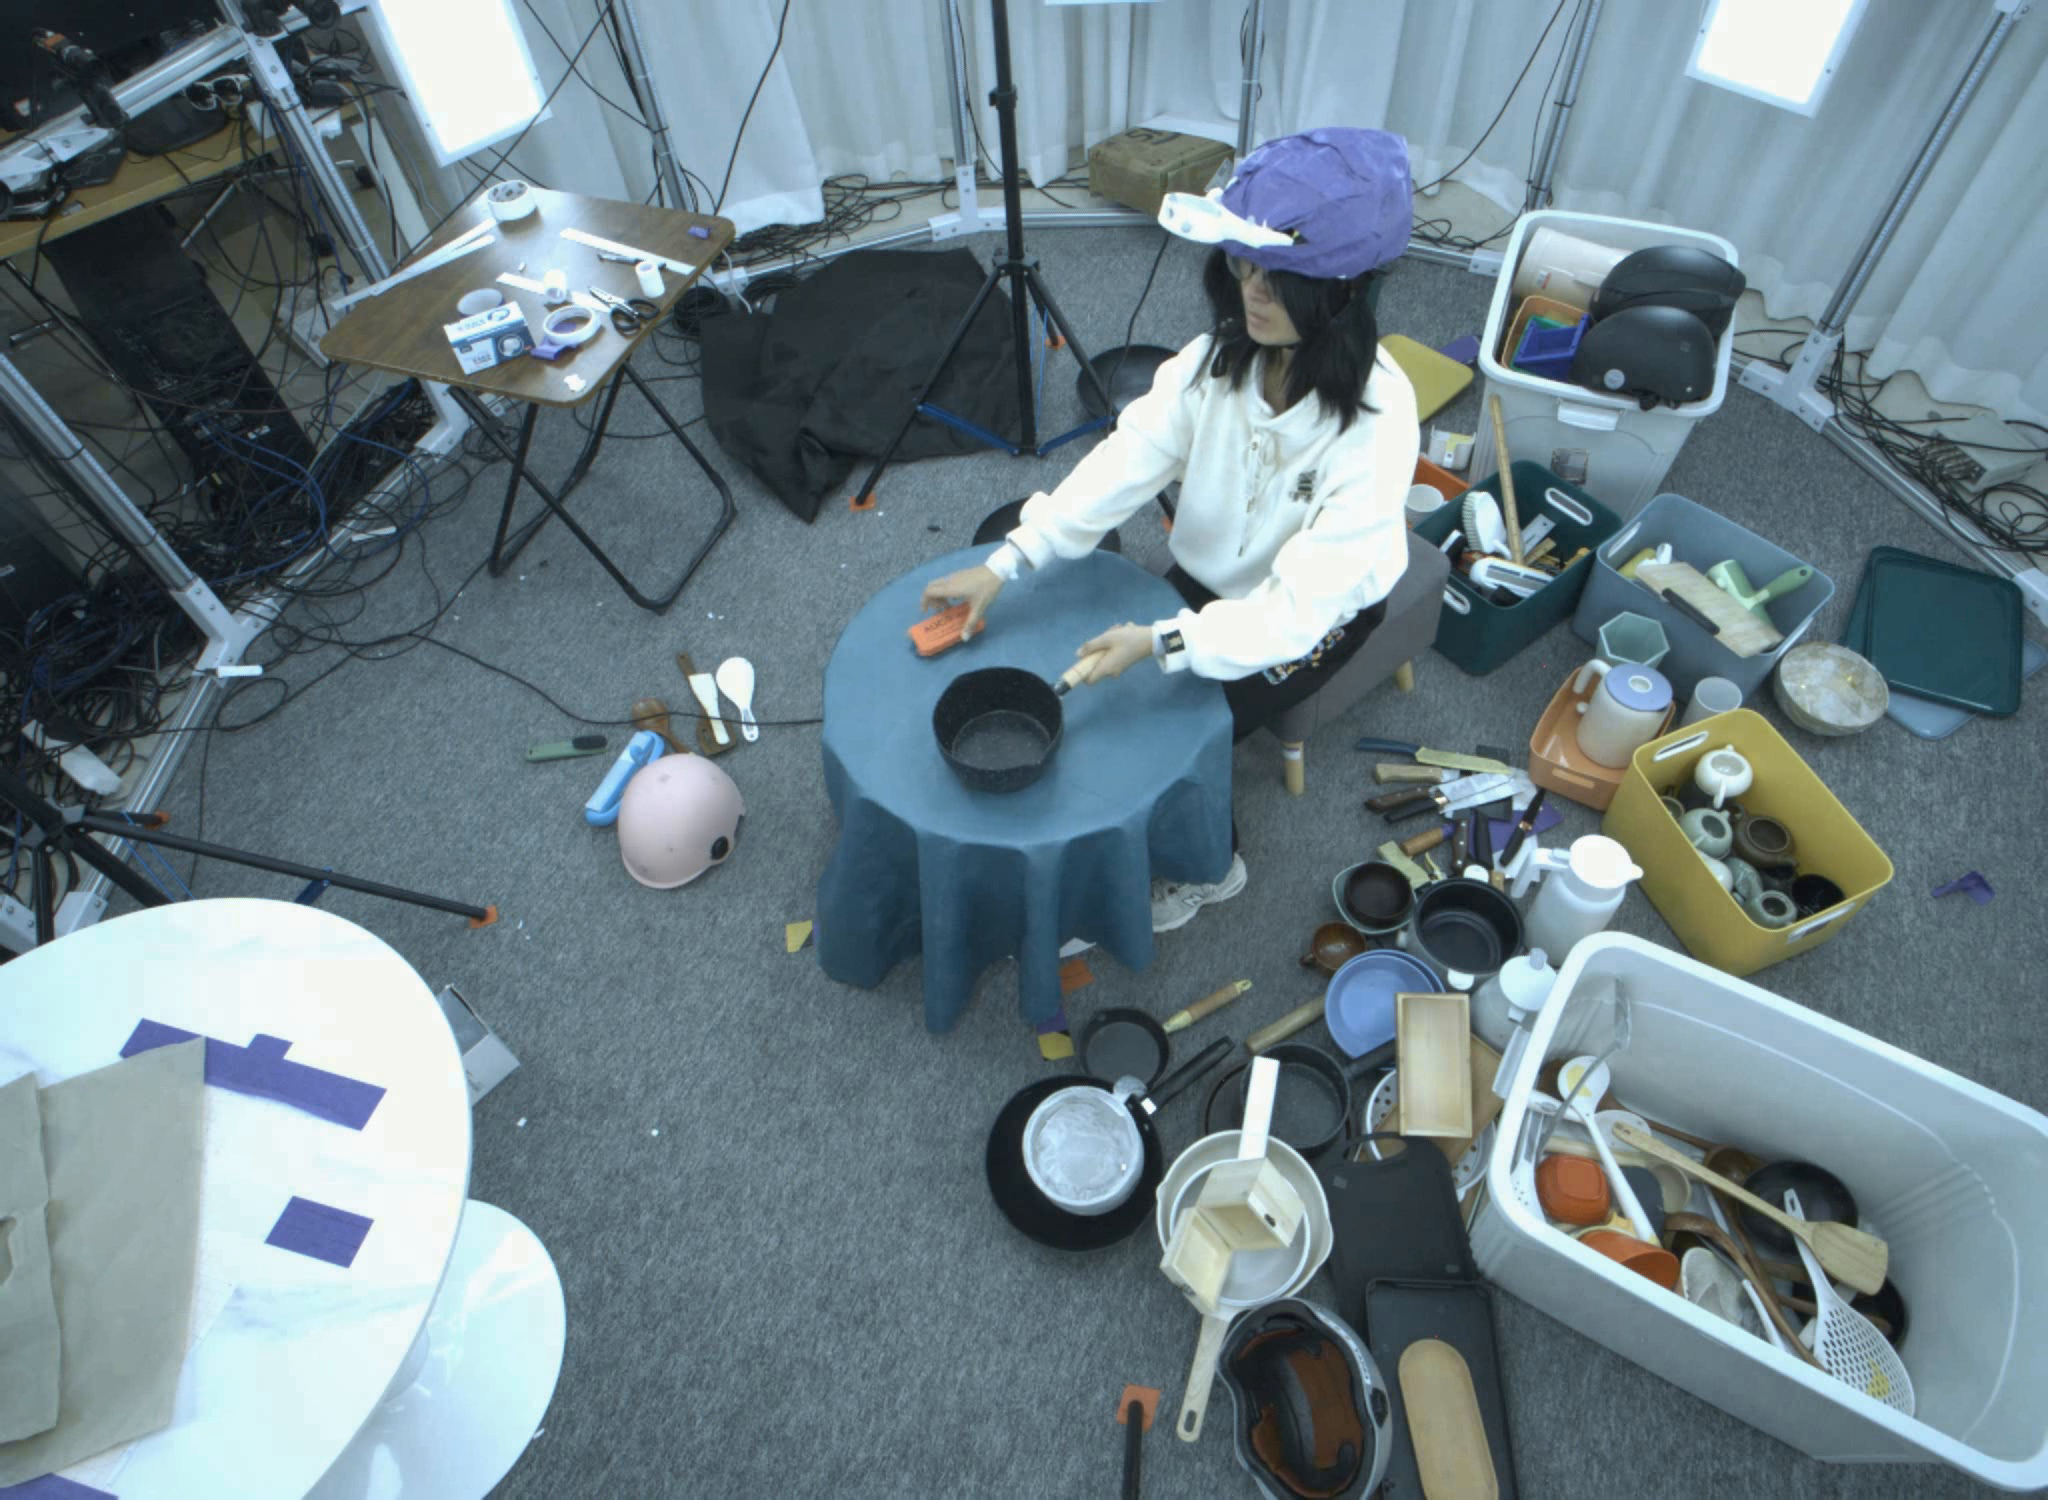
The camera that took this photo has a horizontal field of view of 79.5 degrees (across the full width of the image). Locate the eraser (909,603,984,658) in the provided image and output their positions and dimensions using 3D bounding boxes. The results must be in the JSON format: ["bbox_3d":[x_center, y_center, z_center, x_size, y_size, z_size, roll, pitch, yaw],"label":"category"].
[{"bbox_3d":[-0.121,-0.187,1.910,0.109,0.023,0.058,-27,57,-16],"label":"eraser"}]

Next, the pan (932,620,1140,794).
[{"bbox_3d":[0.028,-0.071,1.770,0.345,0.109,0.203,-34,59,-18],"label":"pan"}]
